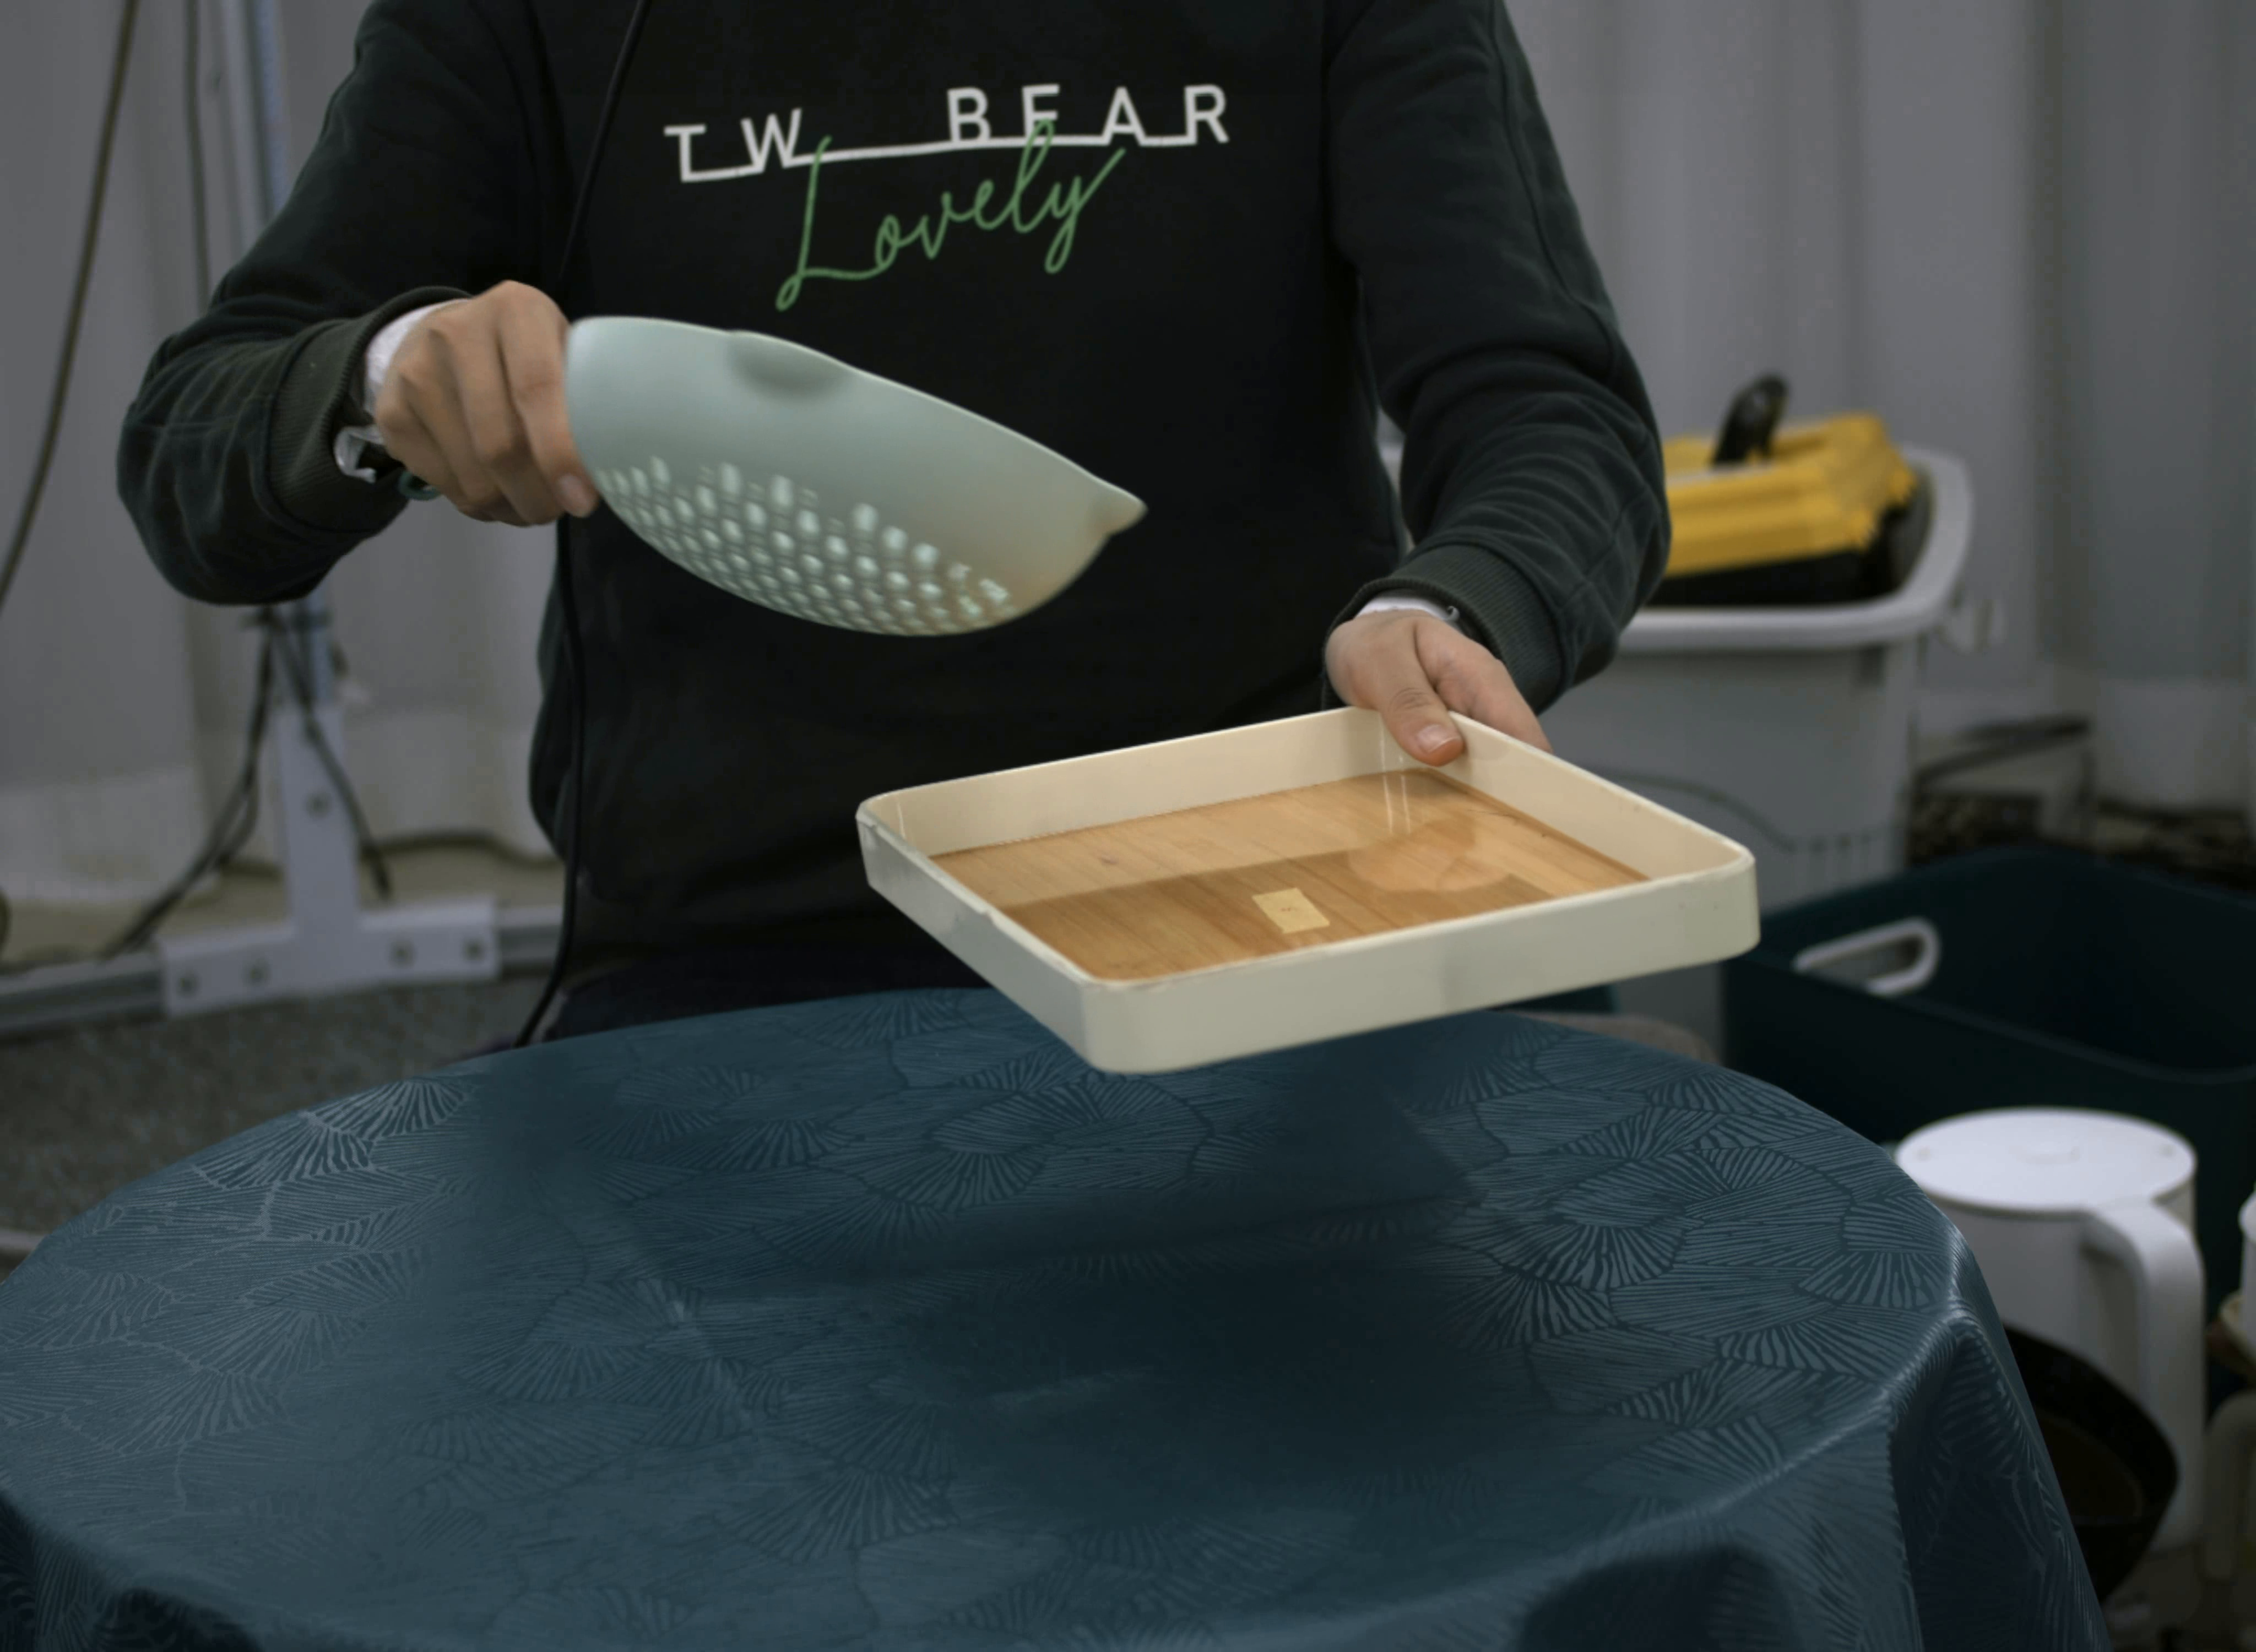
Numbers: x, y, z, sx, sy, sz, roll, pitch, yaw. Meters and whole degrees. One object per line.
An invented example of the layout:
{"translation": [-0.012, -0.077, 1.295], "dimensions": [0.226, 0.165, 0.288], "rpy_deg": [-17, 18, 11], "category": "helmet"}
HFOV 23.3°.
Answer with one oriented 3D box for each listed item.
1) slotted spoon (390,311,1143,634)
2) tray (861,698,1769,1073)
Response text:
{"translation": [-0.140, -0.113, 1.679], "dimensions": [0.167, 0.075, 0.361], "rpy_deg": [24, -2, -32], "category": "slotted spoon"}
{"translation": [0.045, 0.013, 1.574], "dimensions": [0.191, 0.027, 0.302], "rpy_deg": [-11, 13, -13], "category": "tray"}
